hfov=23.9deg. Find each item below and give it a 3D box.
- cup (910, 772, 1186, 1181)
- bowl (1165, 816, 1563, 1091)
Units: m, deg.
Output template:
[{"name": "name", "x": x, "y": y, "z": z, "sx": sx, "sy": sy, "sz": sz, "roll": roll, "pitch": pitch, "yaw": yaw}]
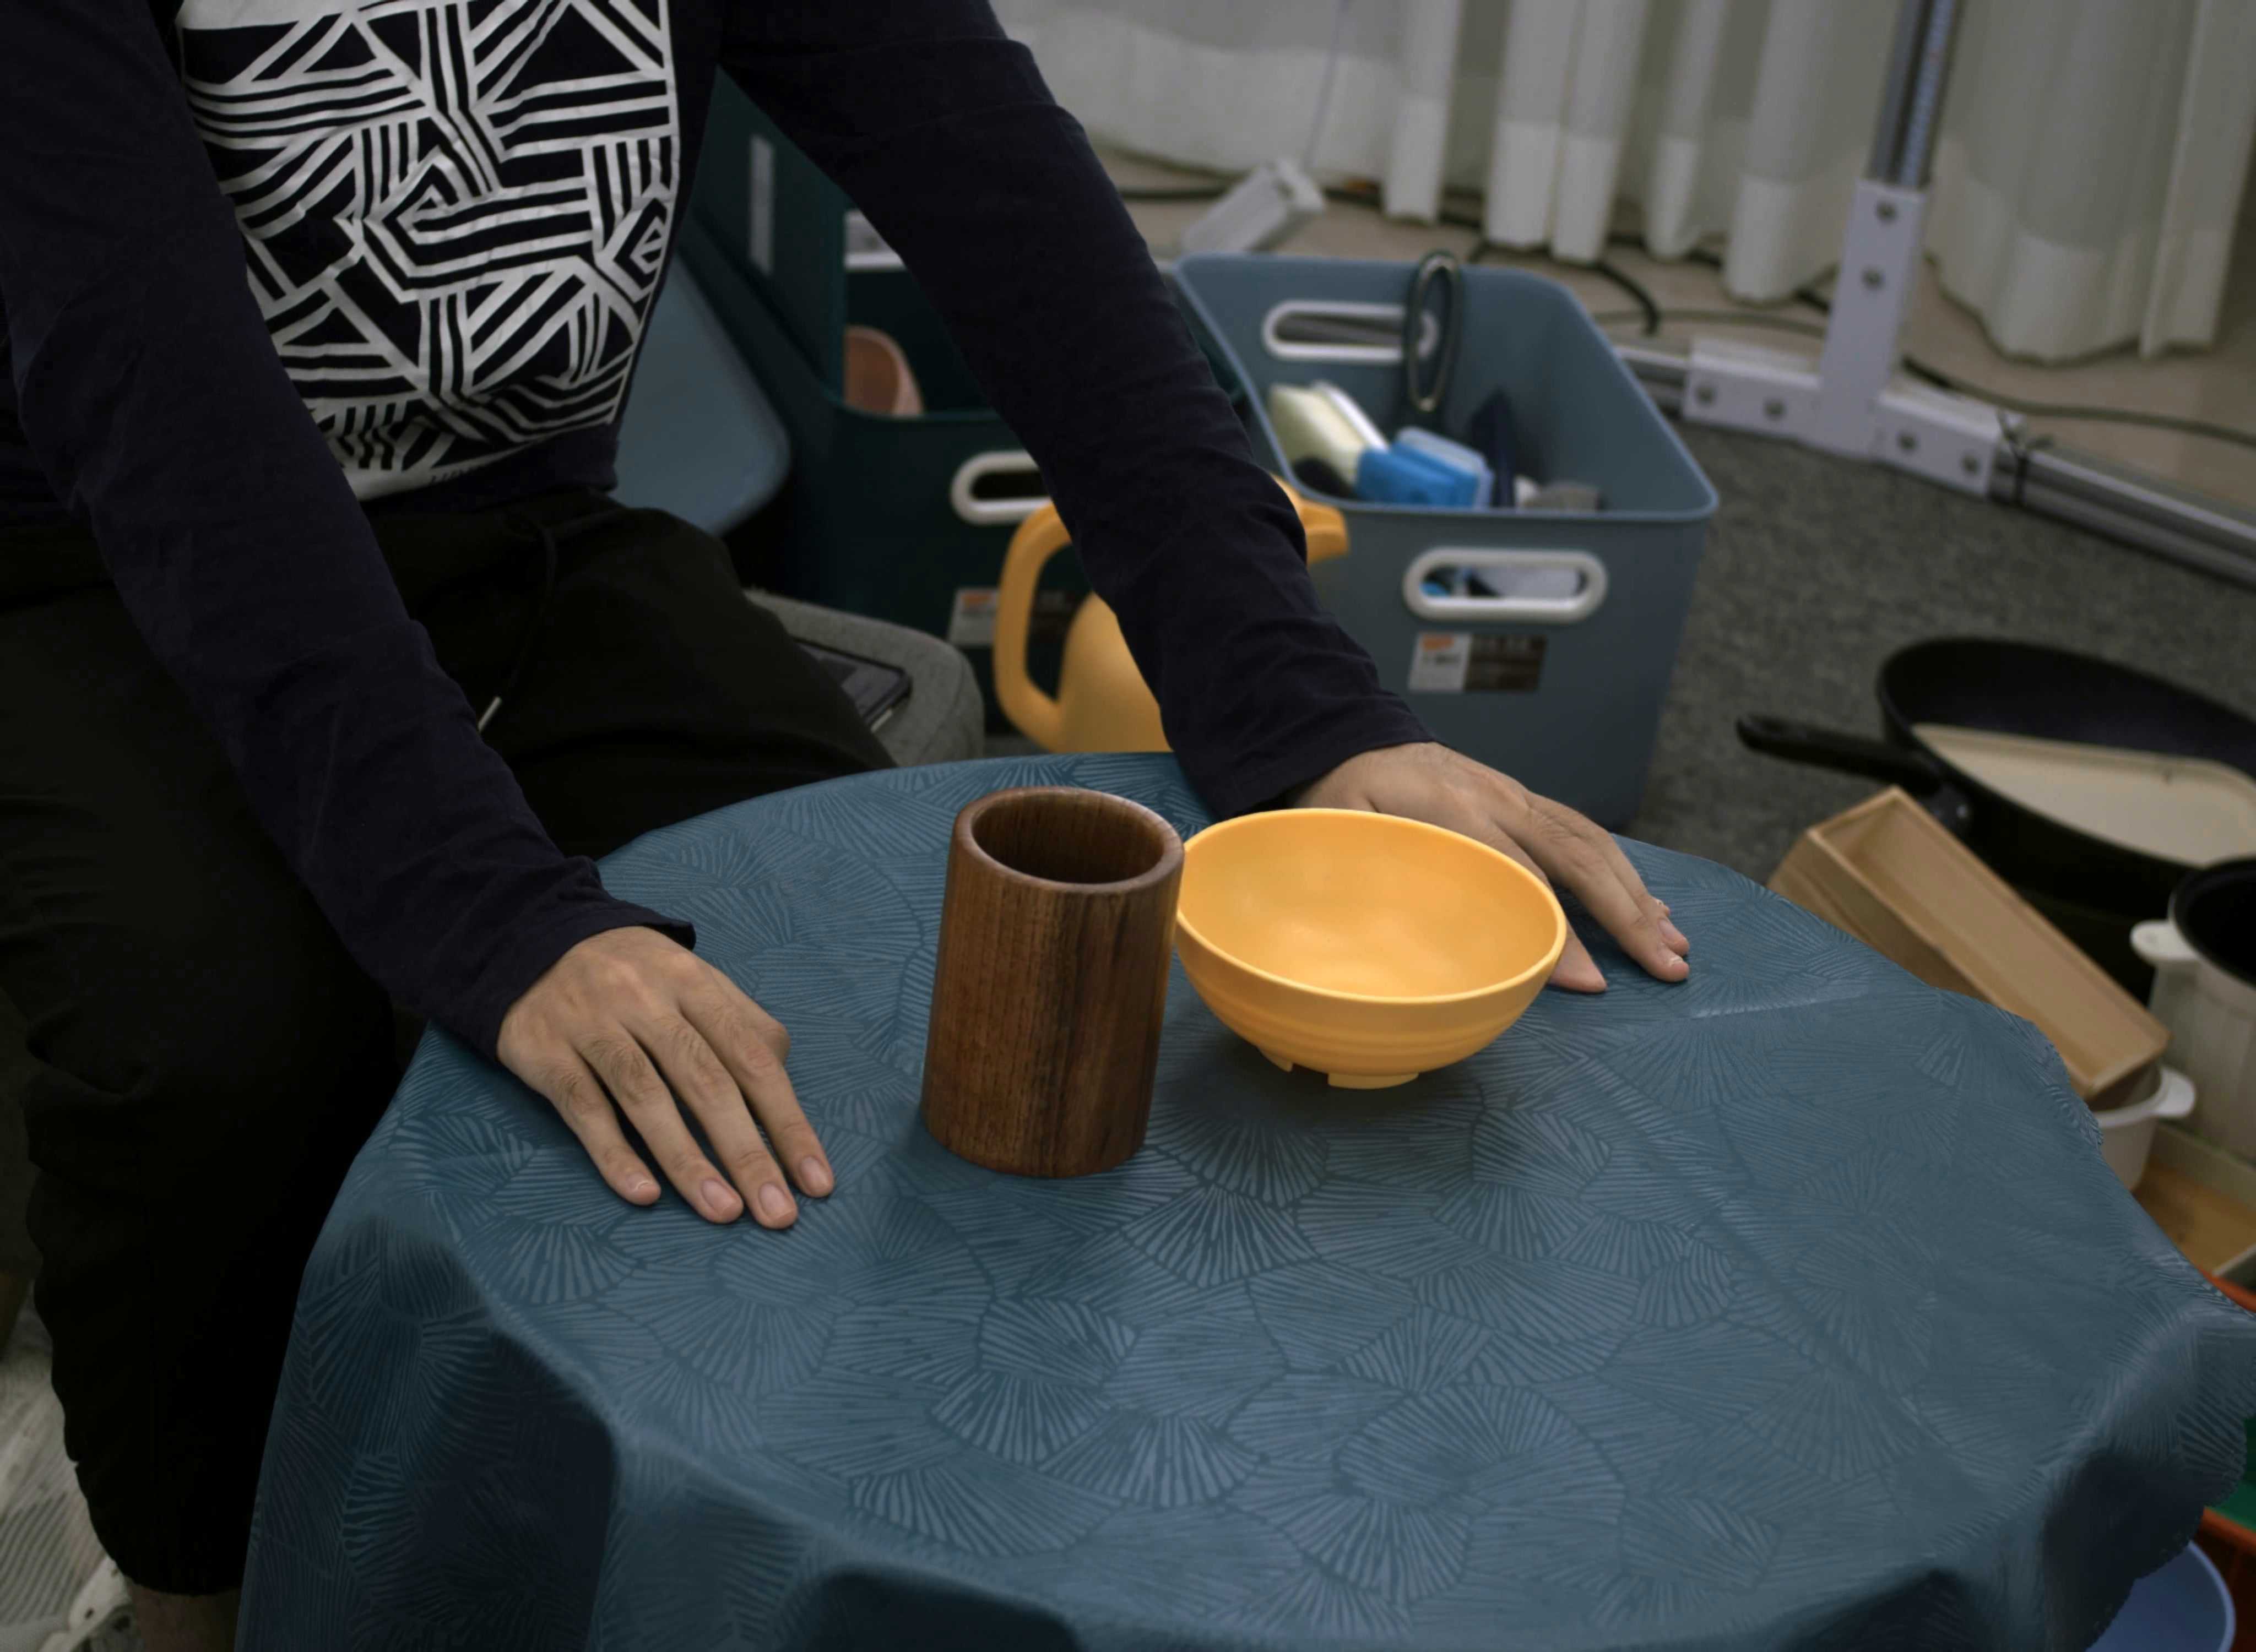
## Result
[{"name": "cup", "x": -0.029, "y": 0.051, "z": 1.814, "sx": 0.087, "sy": 0.118, "sz": 0.088, "roll": 8, "pitch": 24, "yaw": -4}, {"name": "bowl", "x": 0.080, "y": 0.053, "z": 1.899, "sx": 0.145, "sy": 0.060, "sz": 0.146, "roll": 5, "pitch": 25, "yaw": -3}]
